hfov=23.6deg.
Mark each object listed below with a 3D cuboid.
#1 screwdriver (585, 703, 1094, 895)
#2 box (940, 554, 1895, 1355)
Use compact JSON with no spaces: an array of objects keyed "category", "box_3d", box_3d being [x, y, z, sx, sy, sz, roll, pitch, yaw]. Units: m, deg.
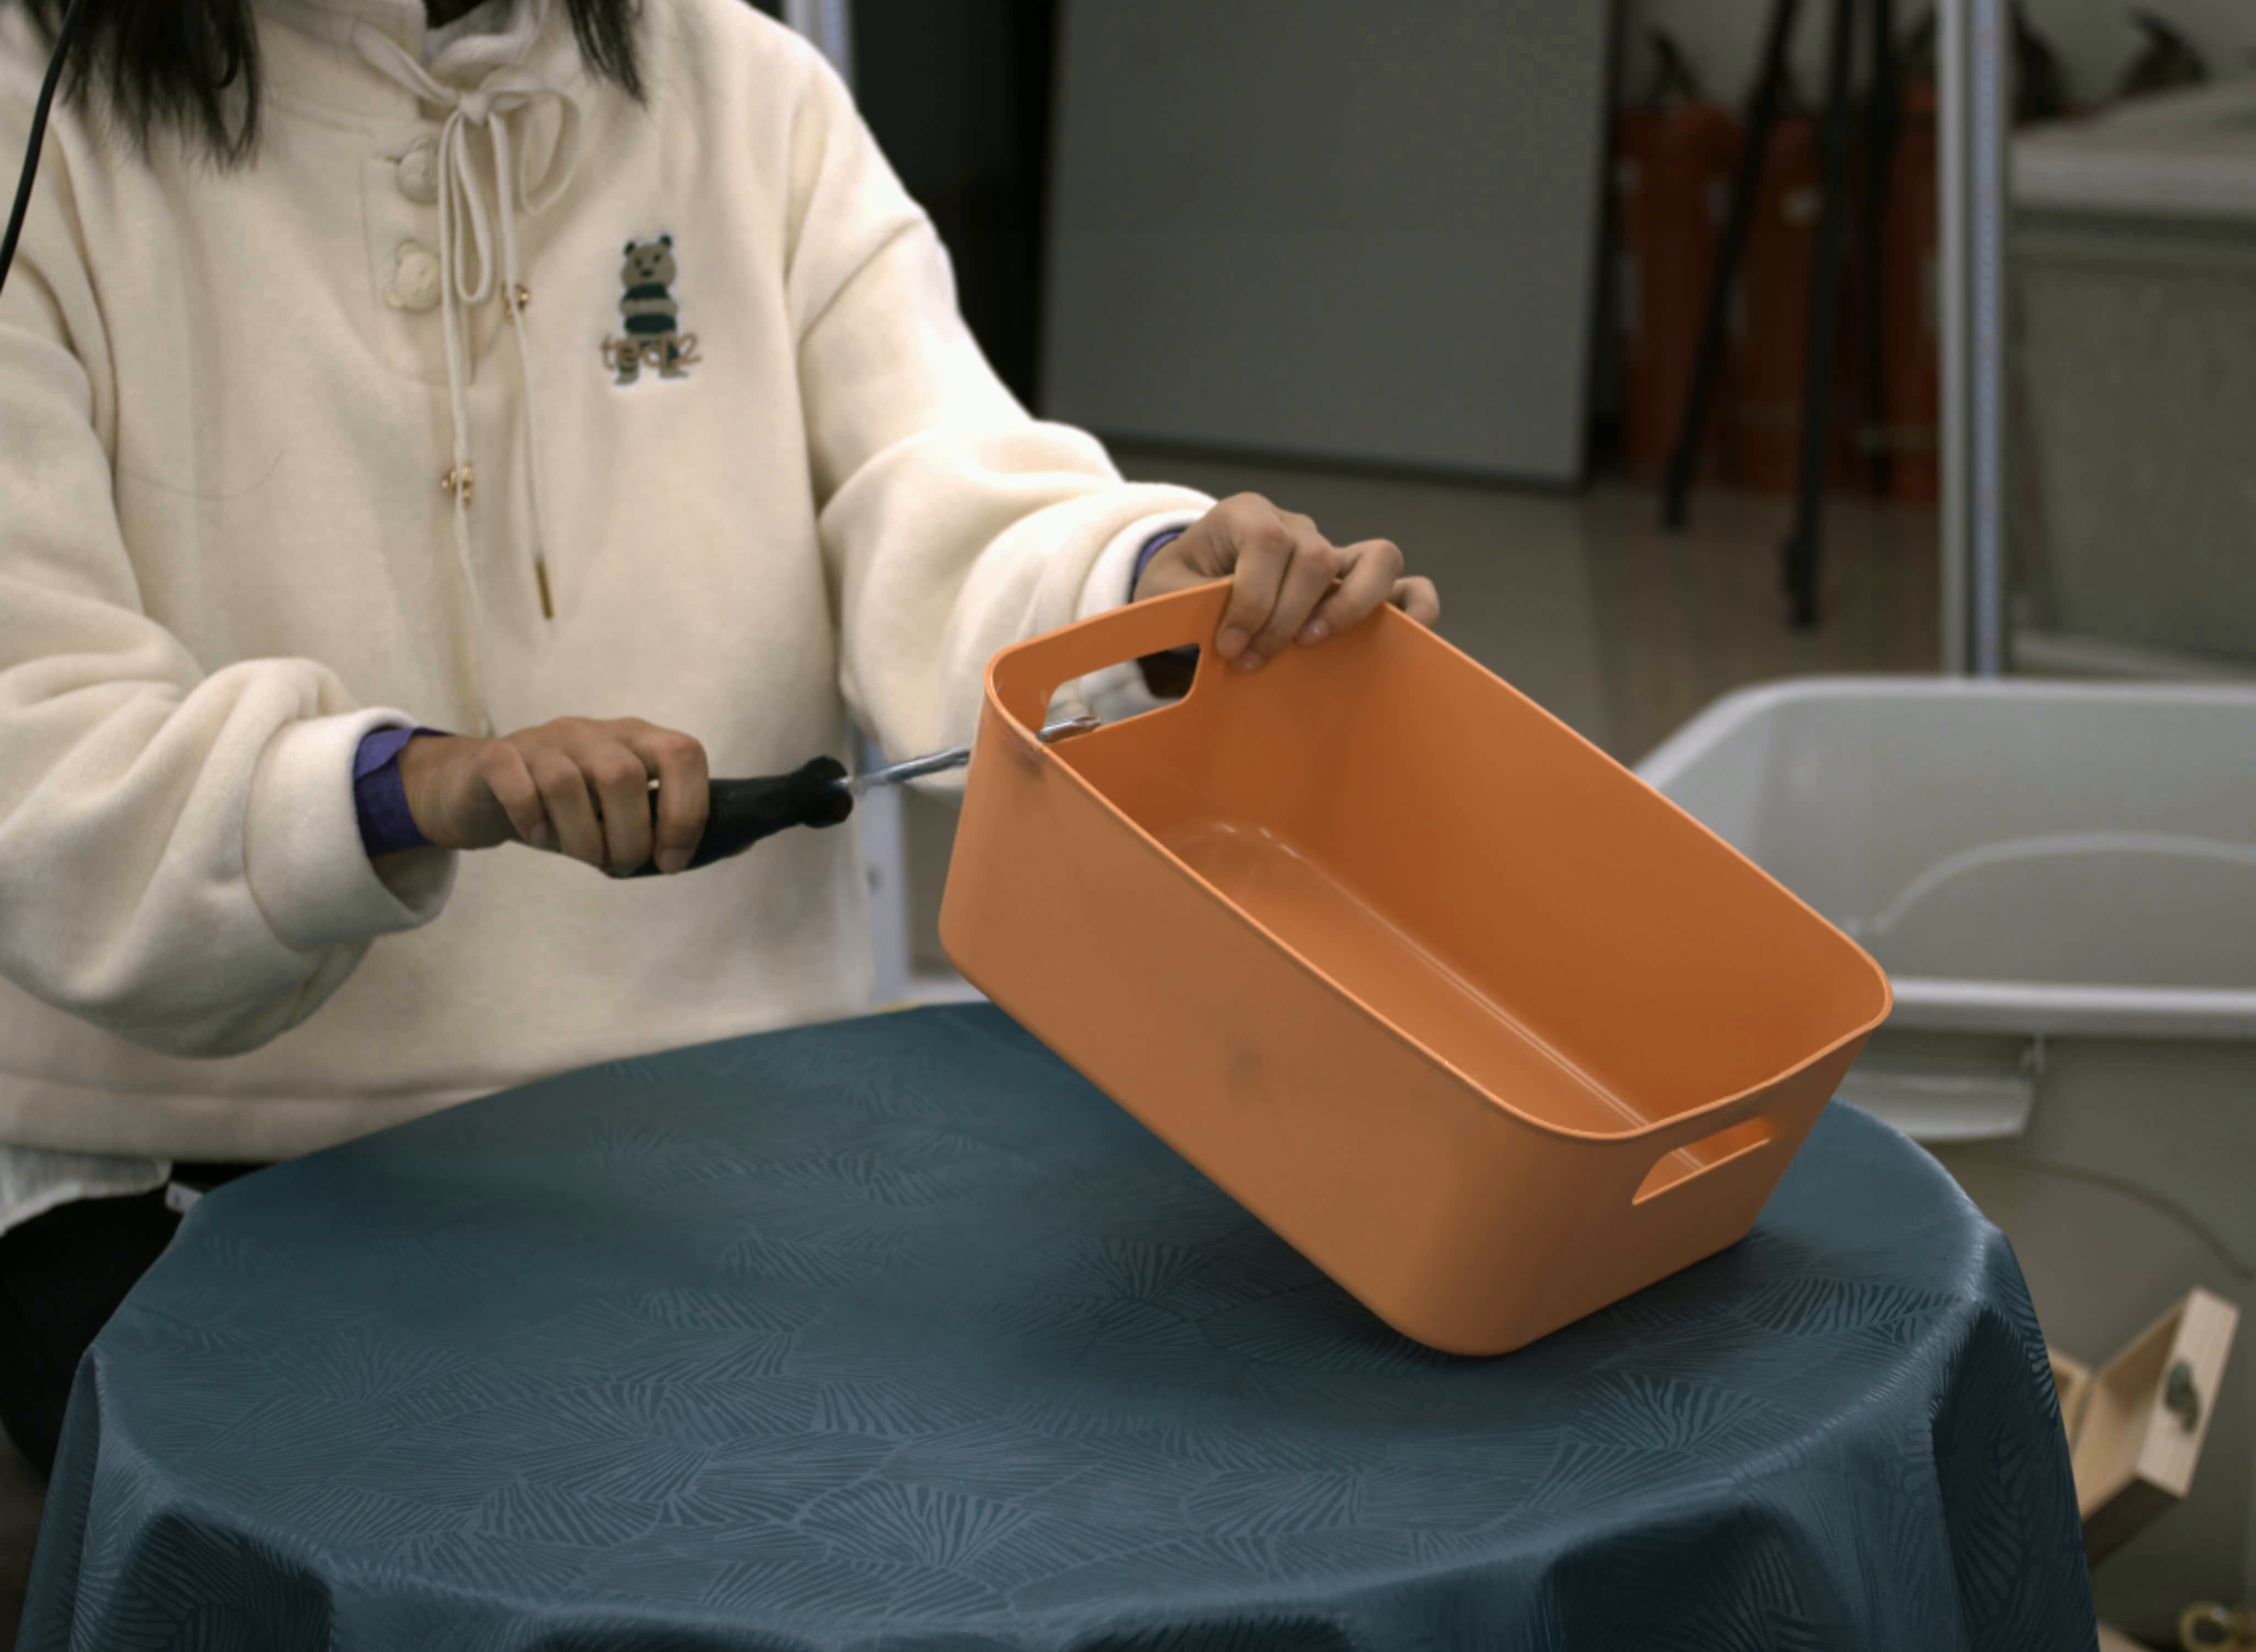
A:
[{"category":"screwdriver","box_3d":[-0.094,-0.010,1.742,0.197,0.032,0.031,-15,6,31]},{"category":"box","box_3d":[0.082,0.038,1.669,0.275,0.103,0.195,38,36,29]}]
